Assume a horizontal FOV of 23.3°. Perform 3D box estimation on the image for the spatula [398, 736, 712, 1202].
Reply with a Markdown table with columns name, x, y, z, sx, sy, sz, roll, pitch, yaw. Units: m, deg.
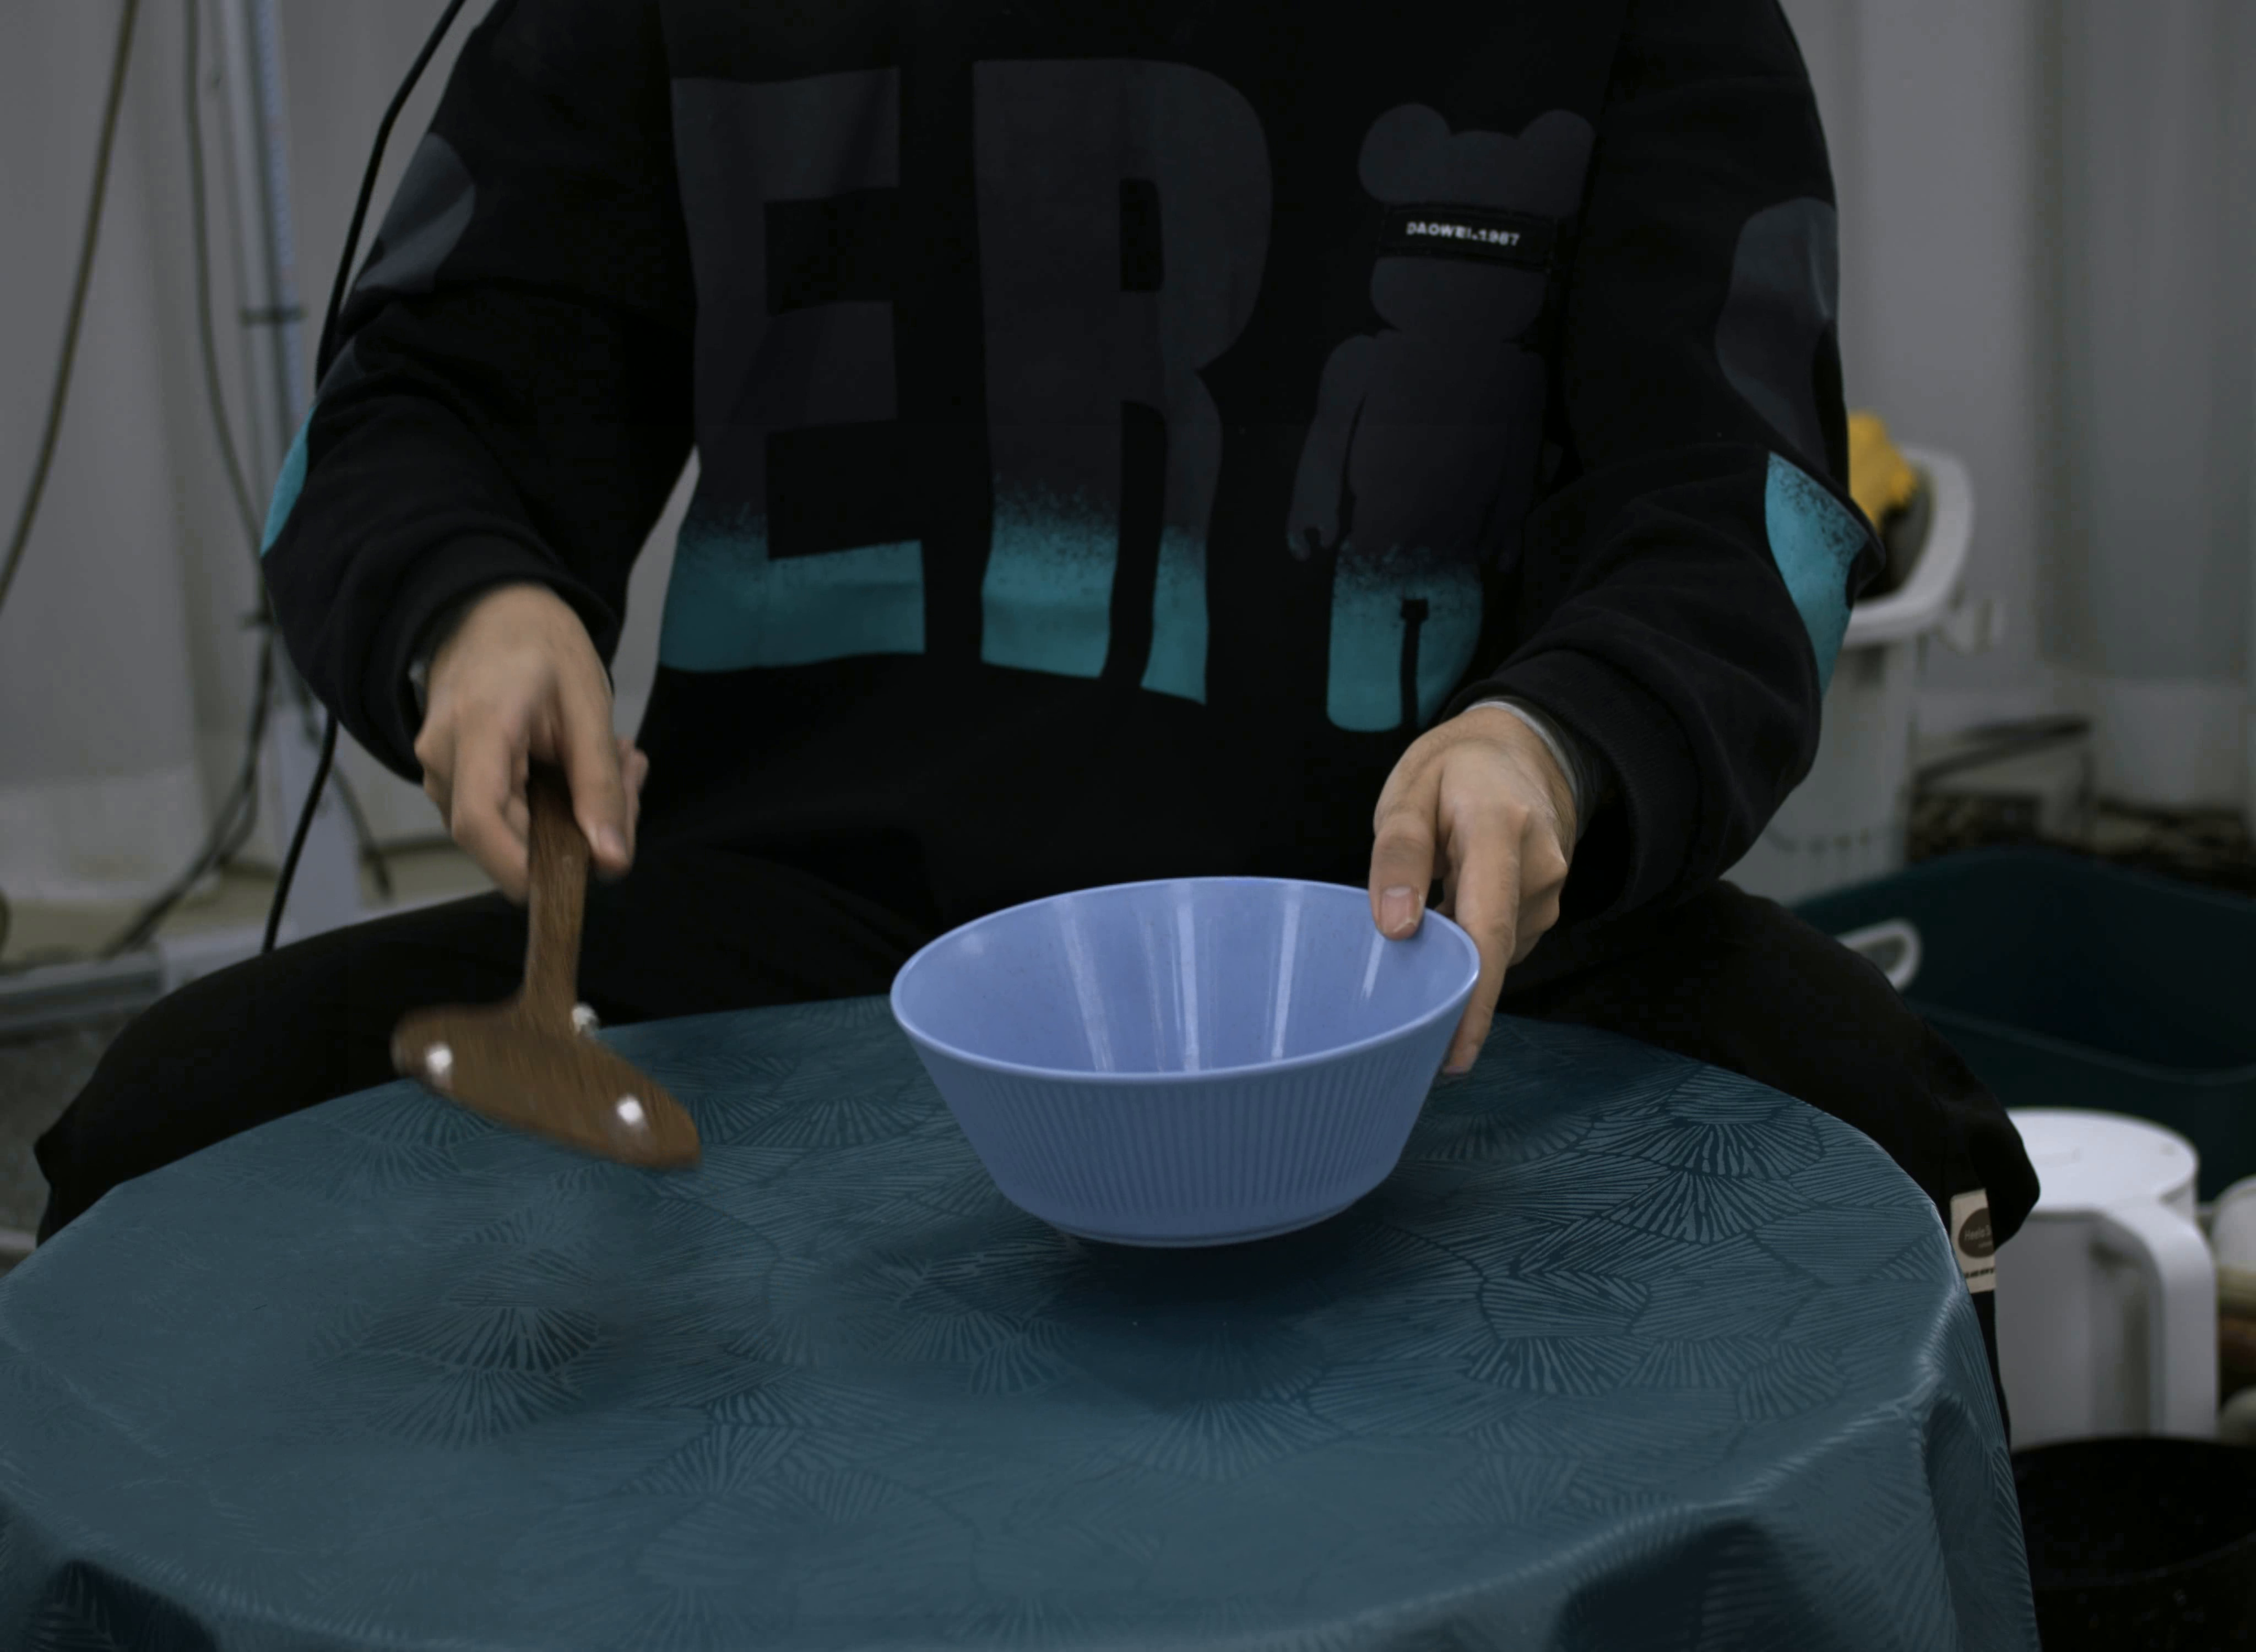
| name | x | y | z | sx | sy | sz | roll | pitch | yaw |
| --- | --- | --- | --- | --- | --- | --- | --- | --- | --- |
| spatula | -0.180 | 0.035 | 1.734 | 0.095 | 0.016 | 0.389 | 19 | 17 | -11 |

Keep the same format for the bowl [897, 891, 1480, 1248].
| name | x | y | z | sx | sy | sz | roll | pitch | yaw |
| --- | --- | --- | --- | --- | --- | --- | --- | --- | --- |
| bowl | 0.020 | 0.076 | 1.637 | 0.175 | 0.070 | 0.177 | -3 | 16 | 1 |
